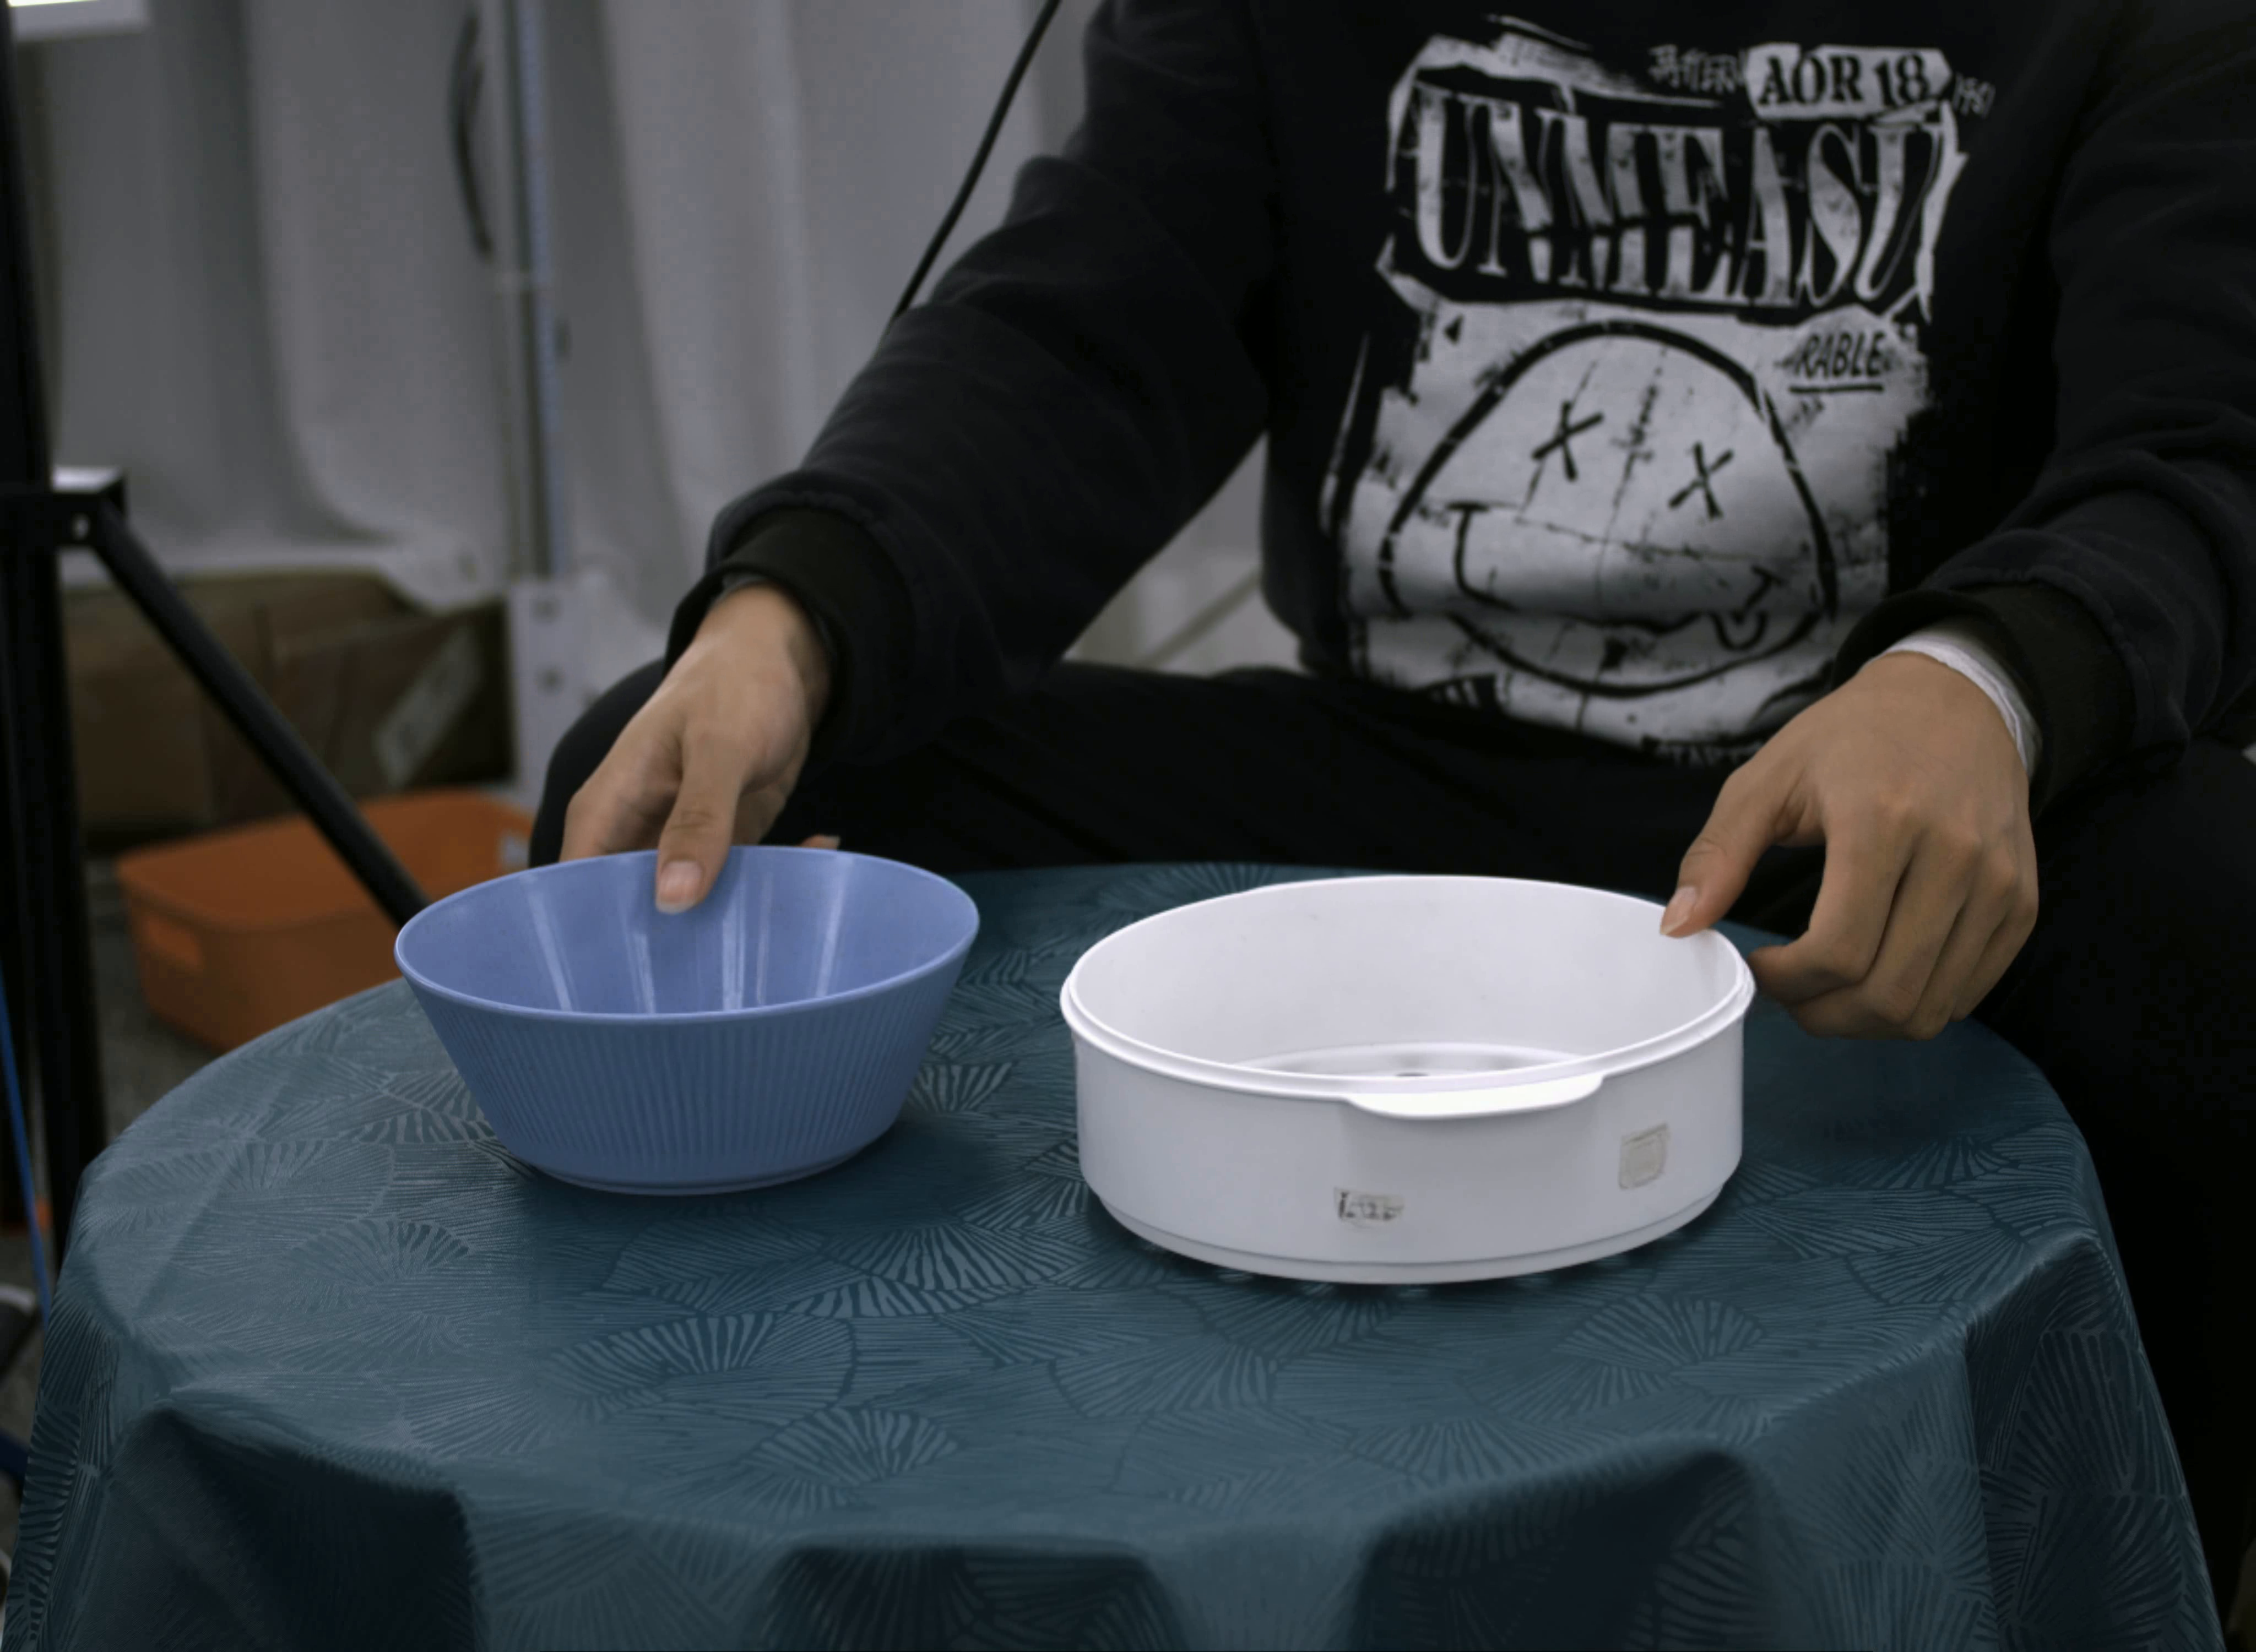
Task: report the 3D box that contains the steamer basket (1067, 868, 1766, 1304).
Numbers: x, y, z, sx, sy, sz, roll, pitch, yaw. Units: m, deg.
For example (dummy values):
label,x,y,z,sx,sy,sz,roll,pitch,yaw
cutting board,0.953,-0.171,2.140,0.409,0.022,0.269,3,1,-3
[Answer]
label,x,y,z,sx,sy,sz,roll,pitch,yaw
steamer basket,0.084,0.075,1.535,0.200,0.069,0.233,-5,18,-7

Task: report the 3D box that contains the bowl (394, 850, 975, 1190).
label,x,y,z,sx,sy,sz,roll,pitch,yaw
bowl,-0.133,0.061,1.617,0.175,0.070,0.177,-2,16,-1
